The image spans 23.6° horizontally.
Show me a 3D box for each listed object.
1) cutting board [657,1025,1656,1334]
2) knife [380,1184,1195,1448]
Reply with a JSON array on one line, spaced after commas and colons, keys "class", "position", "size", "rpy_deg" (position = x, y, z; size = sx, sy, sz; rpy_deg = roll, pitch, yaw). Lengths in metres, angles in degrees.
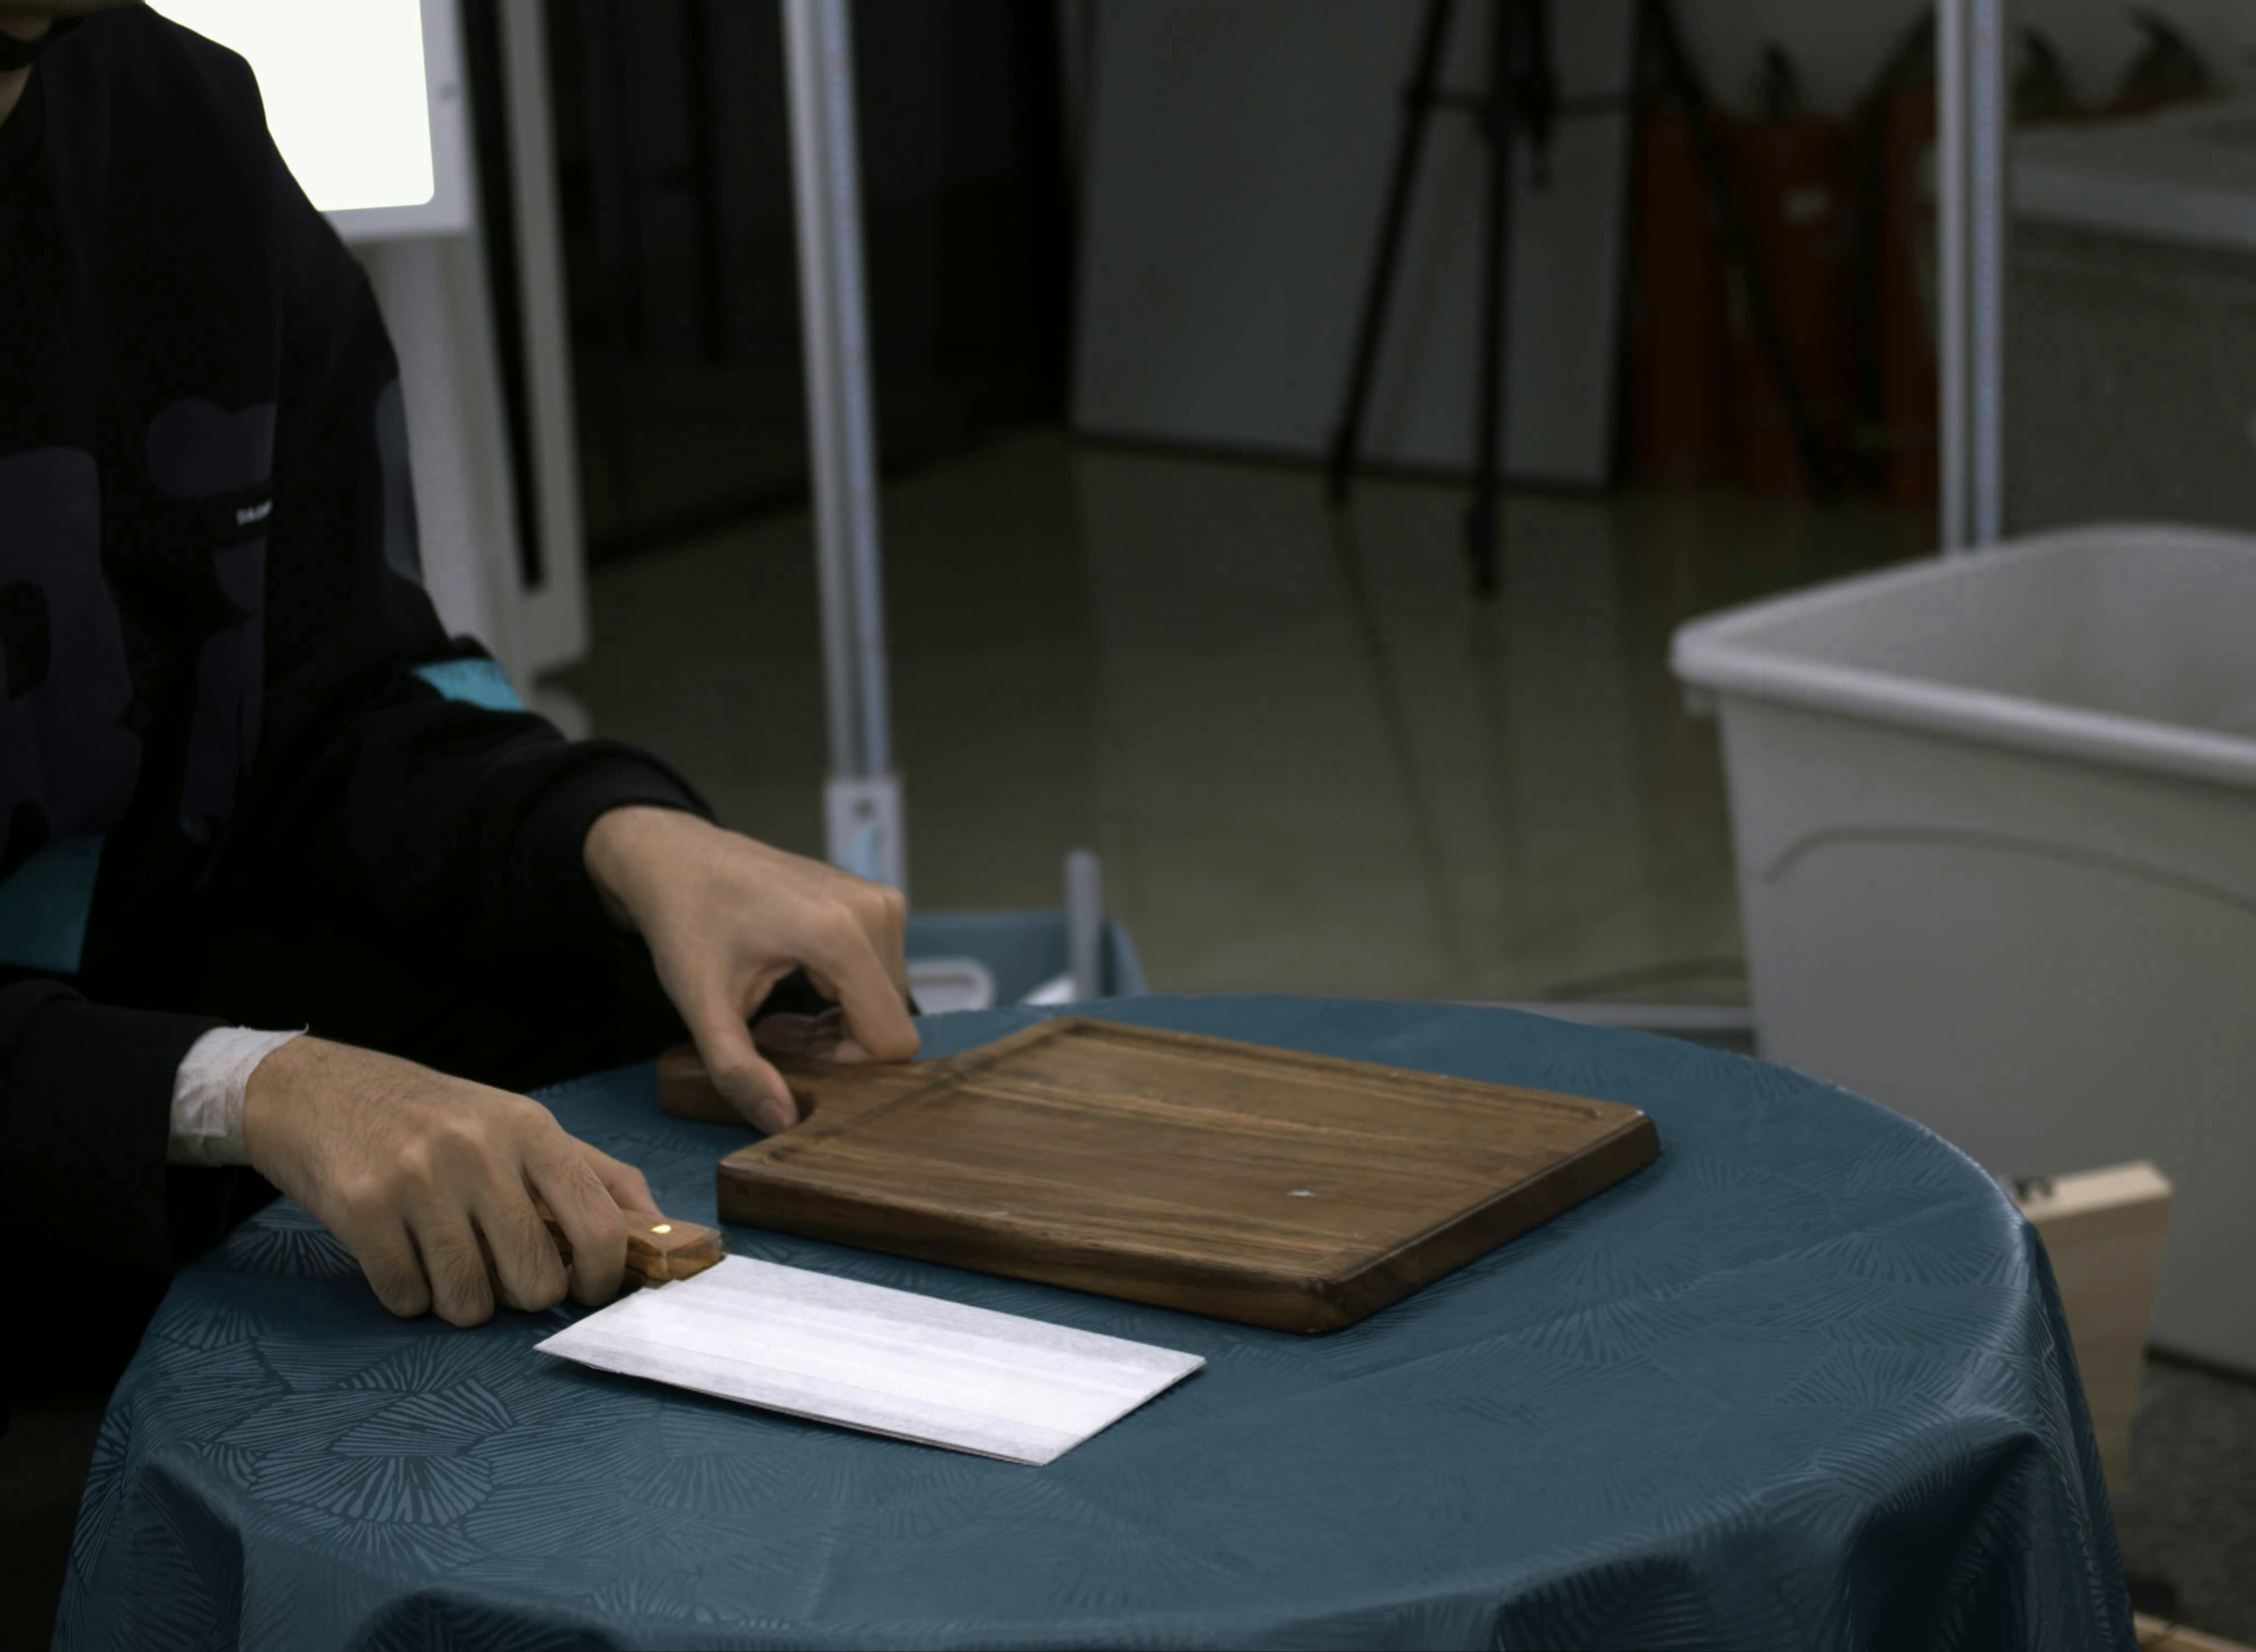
[{"class": "cutting board", "position": [-0.019, 0.107, 1.791], "size": [0.354, 0.023, 0.197], "rpy_deg": [6, 17, 37]}, {"class": "knife", "position": [-0.124, 0.152, 1.651], "size": [0.307, 0.021, 0.091], "rpy_deg": [8, 21, 34]}]
